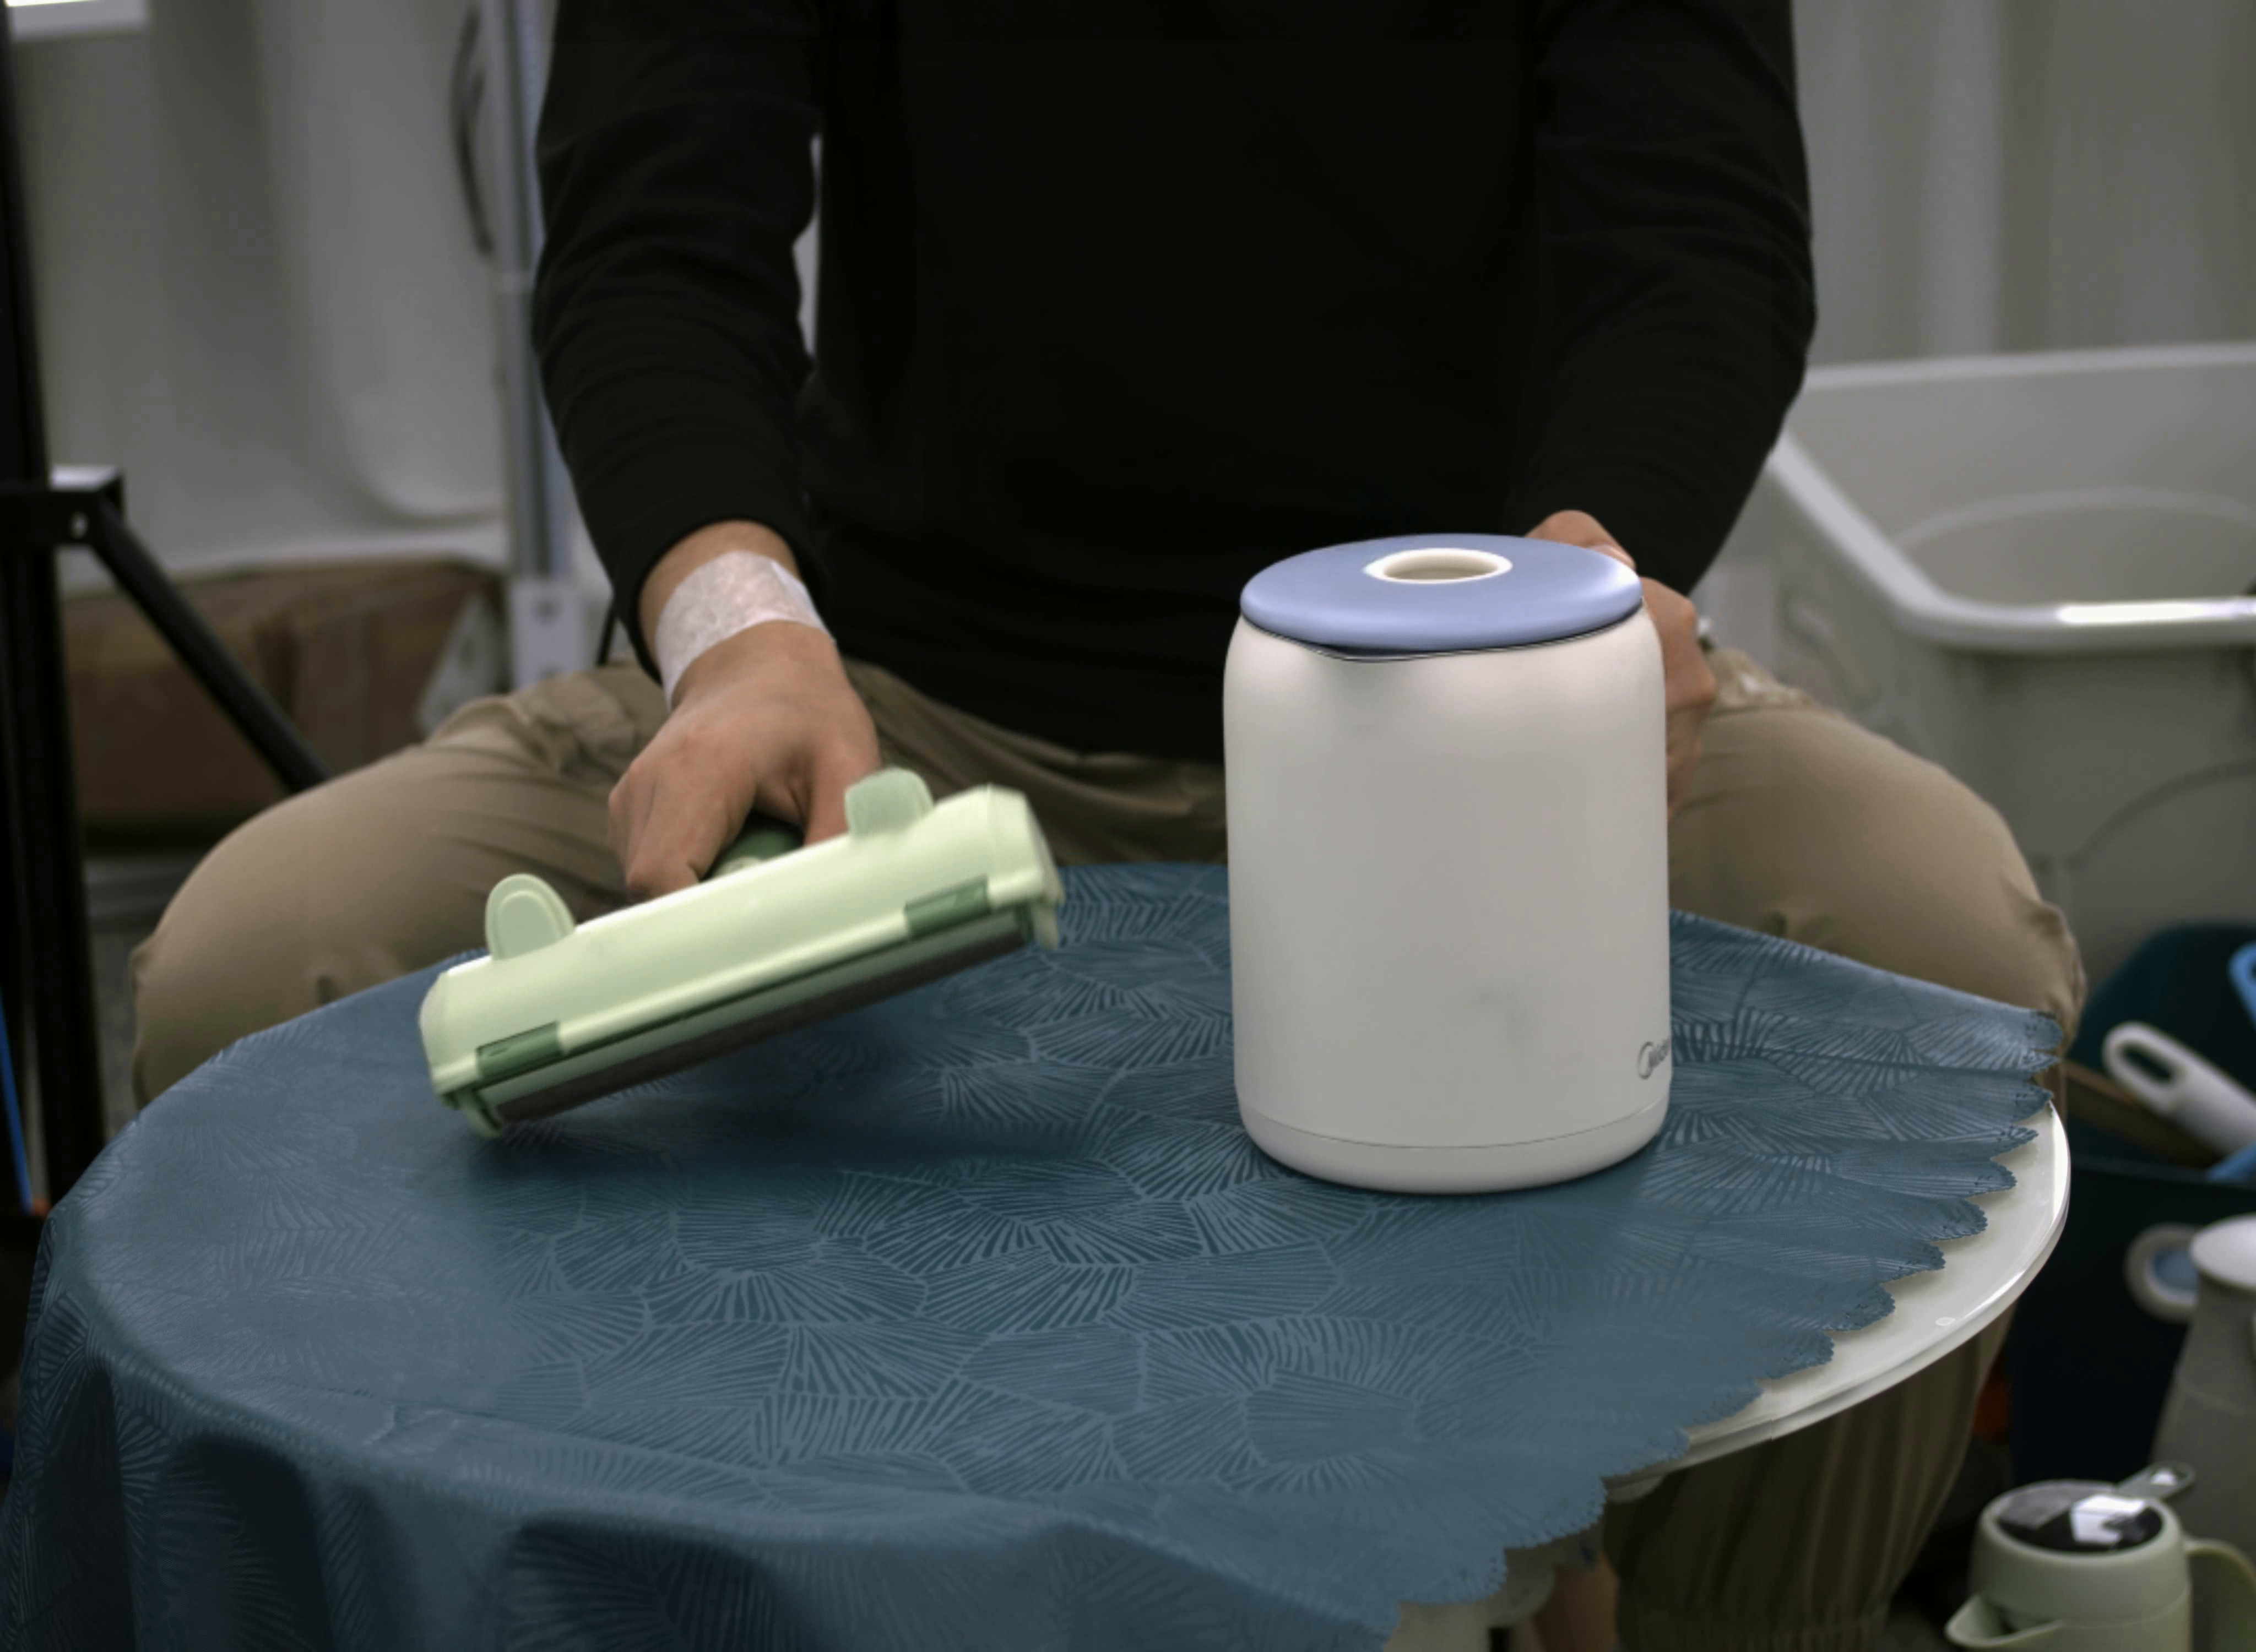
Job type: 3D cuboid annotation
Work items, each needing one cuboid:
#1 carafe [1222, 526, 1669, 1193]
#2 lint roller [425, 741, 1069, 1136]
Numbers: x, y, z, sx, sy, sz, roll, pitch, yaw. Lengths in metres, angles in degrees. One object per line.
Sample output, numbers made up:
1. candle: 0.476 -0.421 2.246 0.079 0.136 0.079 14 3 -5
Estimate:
1. carafe: 0.104 0.003 1.595 0.134 0.182 0.188 5 15 24
2. lint roller: -0.122 0.013 1.666 0.198 0.081 0.185 -19 23 4
